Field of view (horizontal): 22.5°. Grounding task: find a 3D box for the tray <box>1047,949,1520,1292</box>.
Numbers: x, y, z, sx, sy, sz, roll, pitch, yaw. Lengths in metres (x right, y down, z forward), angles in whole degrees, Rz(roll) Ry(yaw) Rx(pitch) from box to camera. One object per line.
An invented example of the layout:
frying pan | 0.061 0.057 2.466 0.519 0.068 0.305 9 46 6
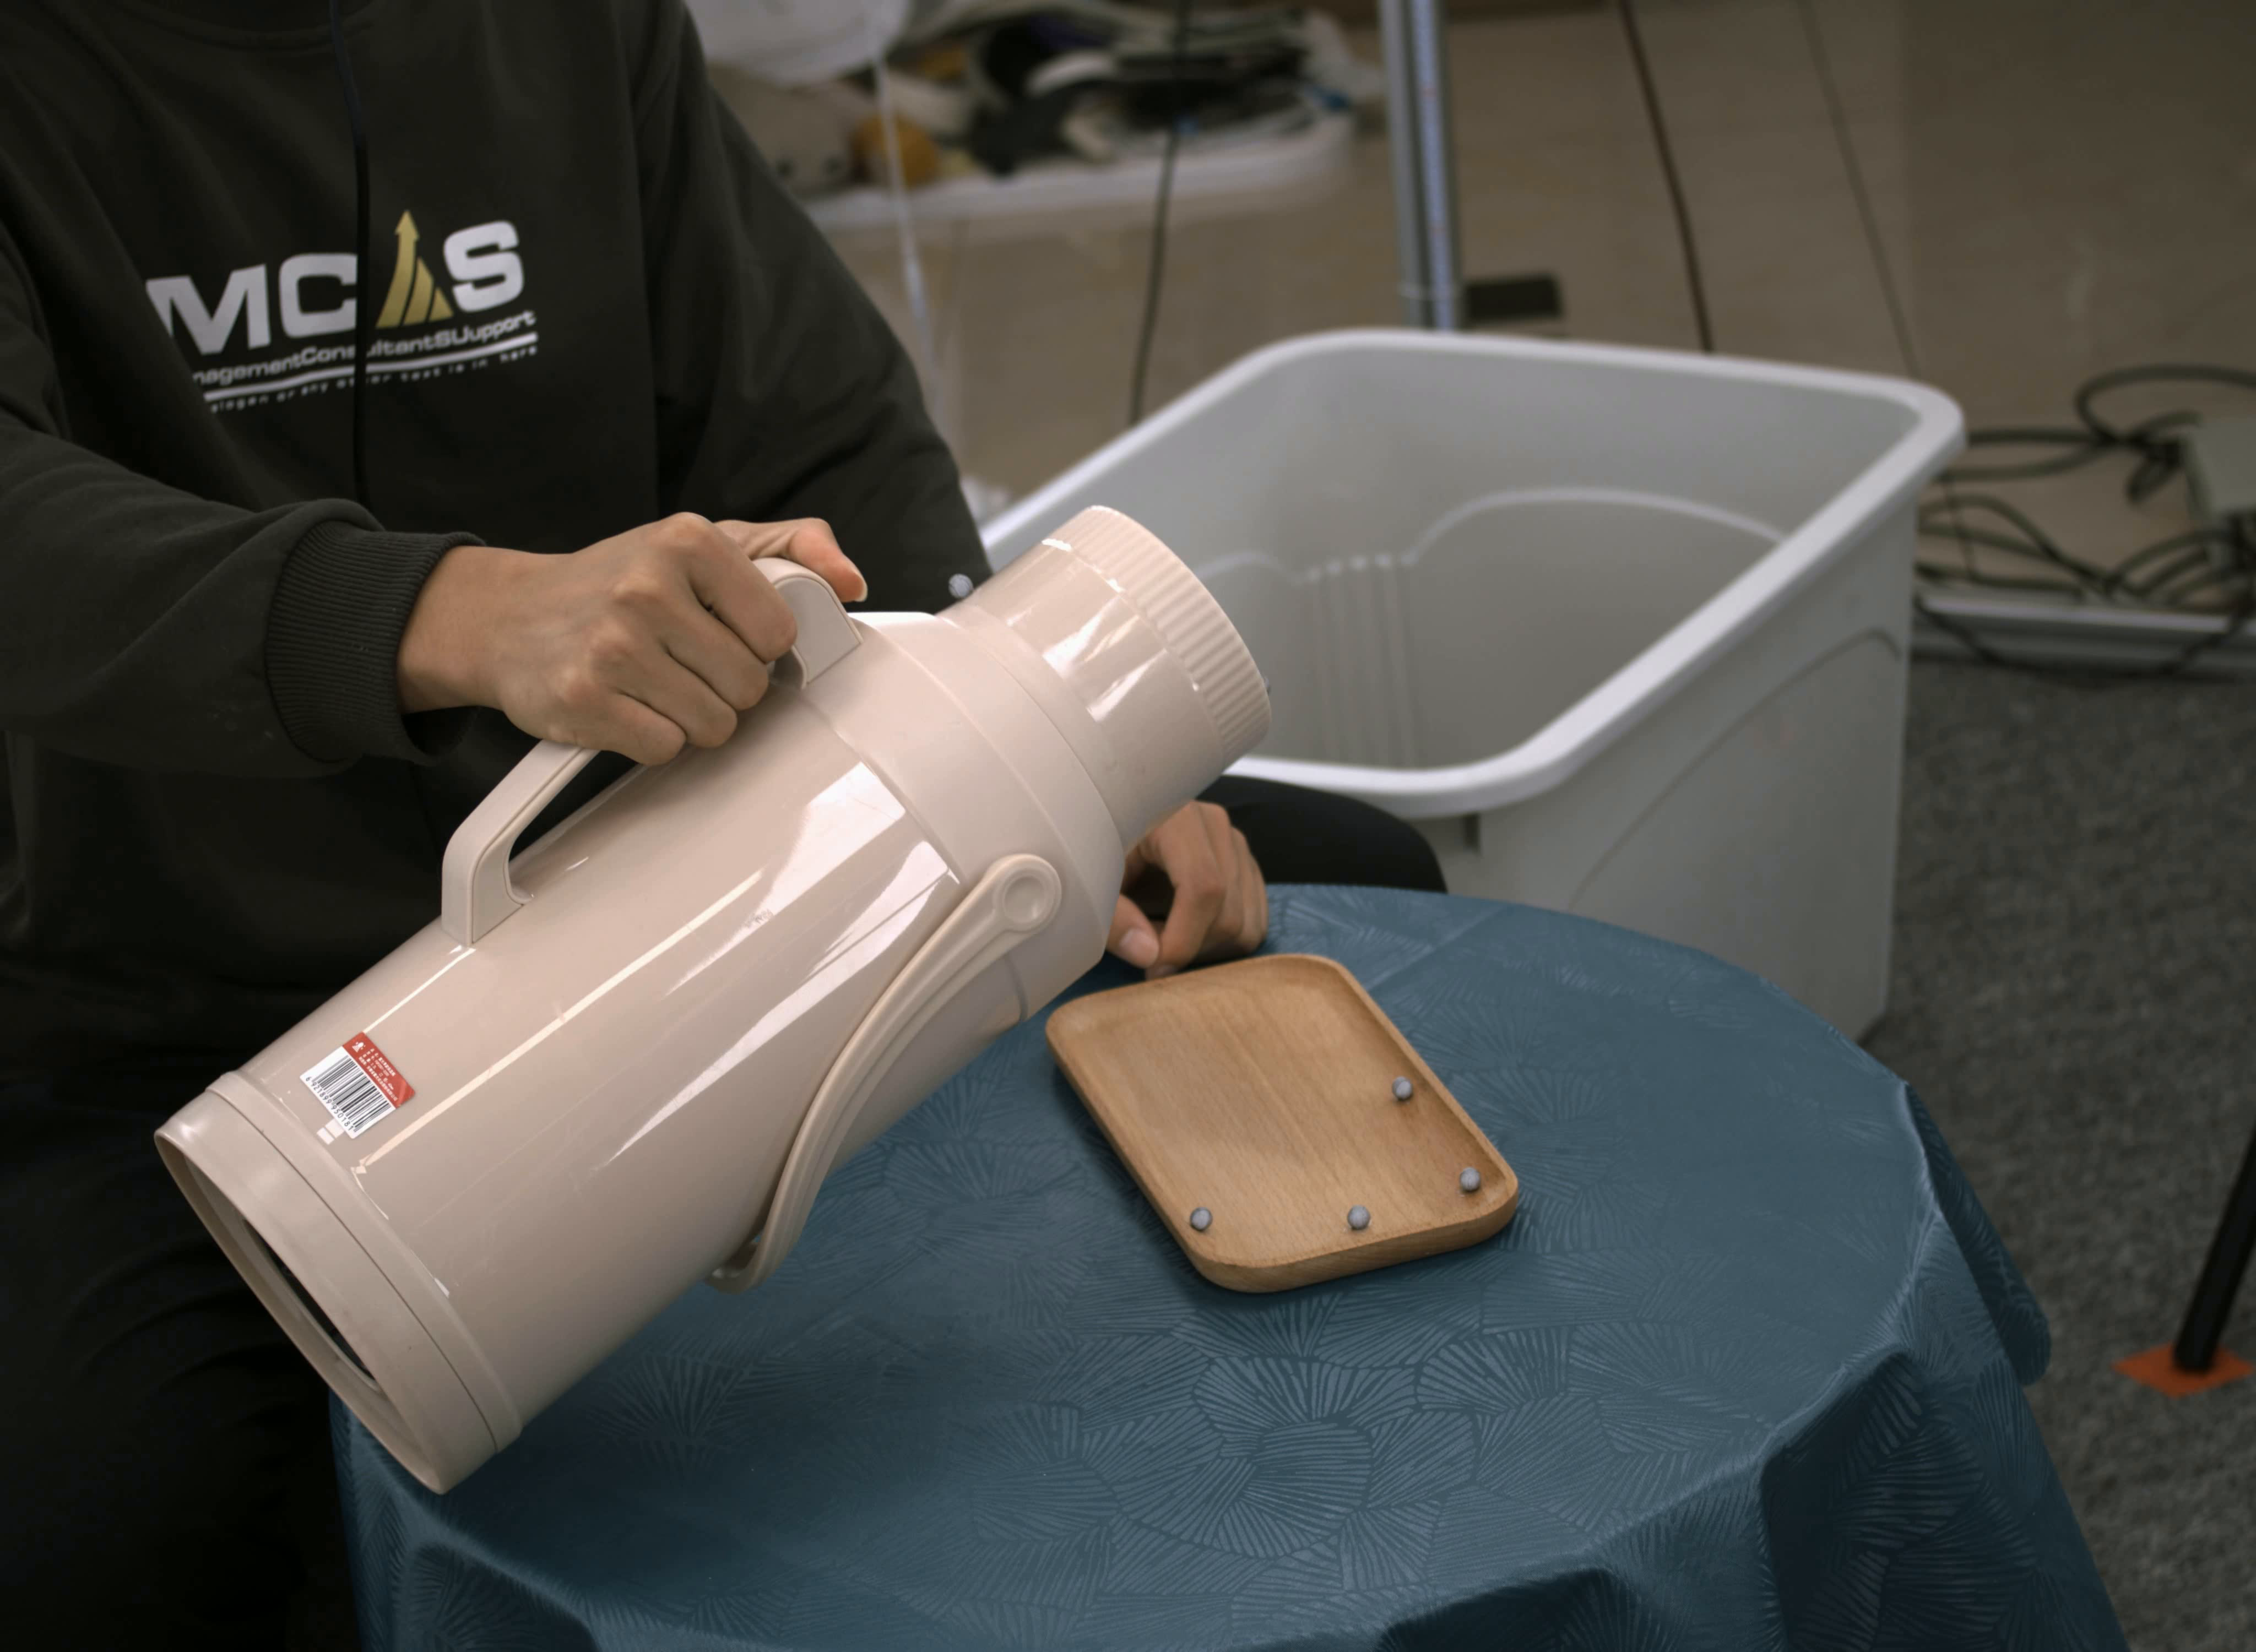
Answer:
tray | 0.057 0.111 2.175 0.130 0.023 0.247 -10 24 -13

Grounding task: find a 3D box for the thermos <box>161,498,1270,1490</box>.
thermos | -0.140 0.035 1.974 0.404 0.210 0.173 -39 32 -13
